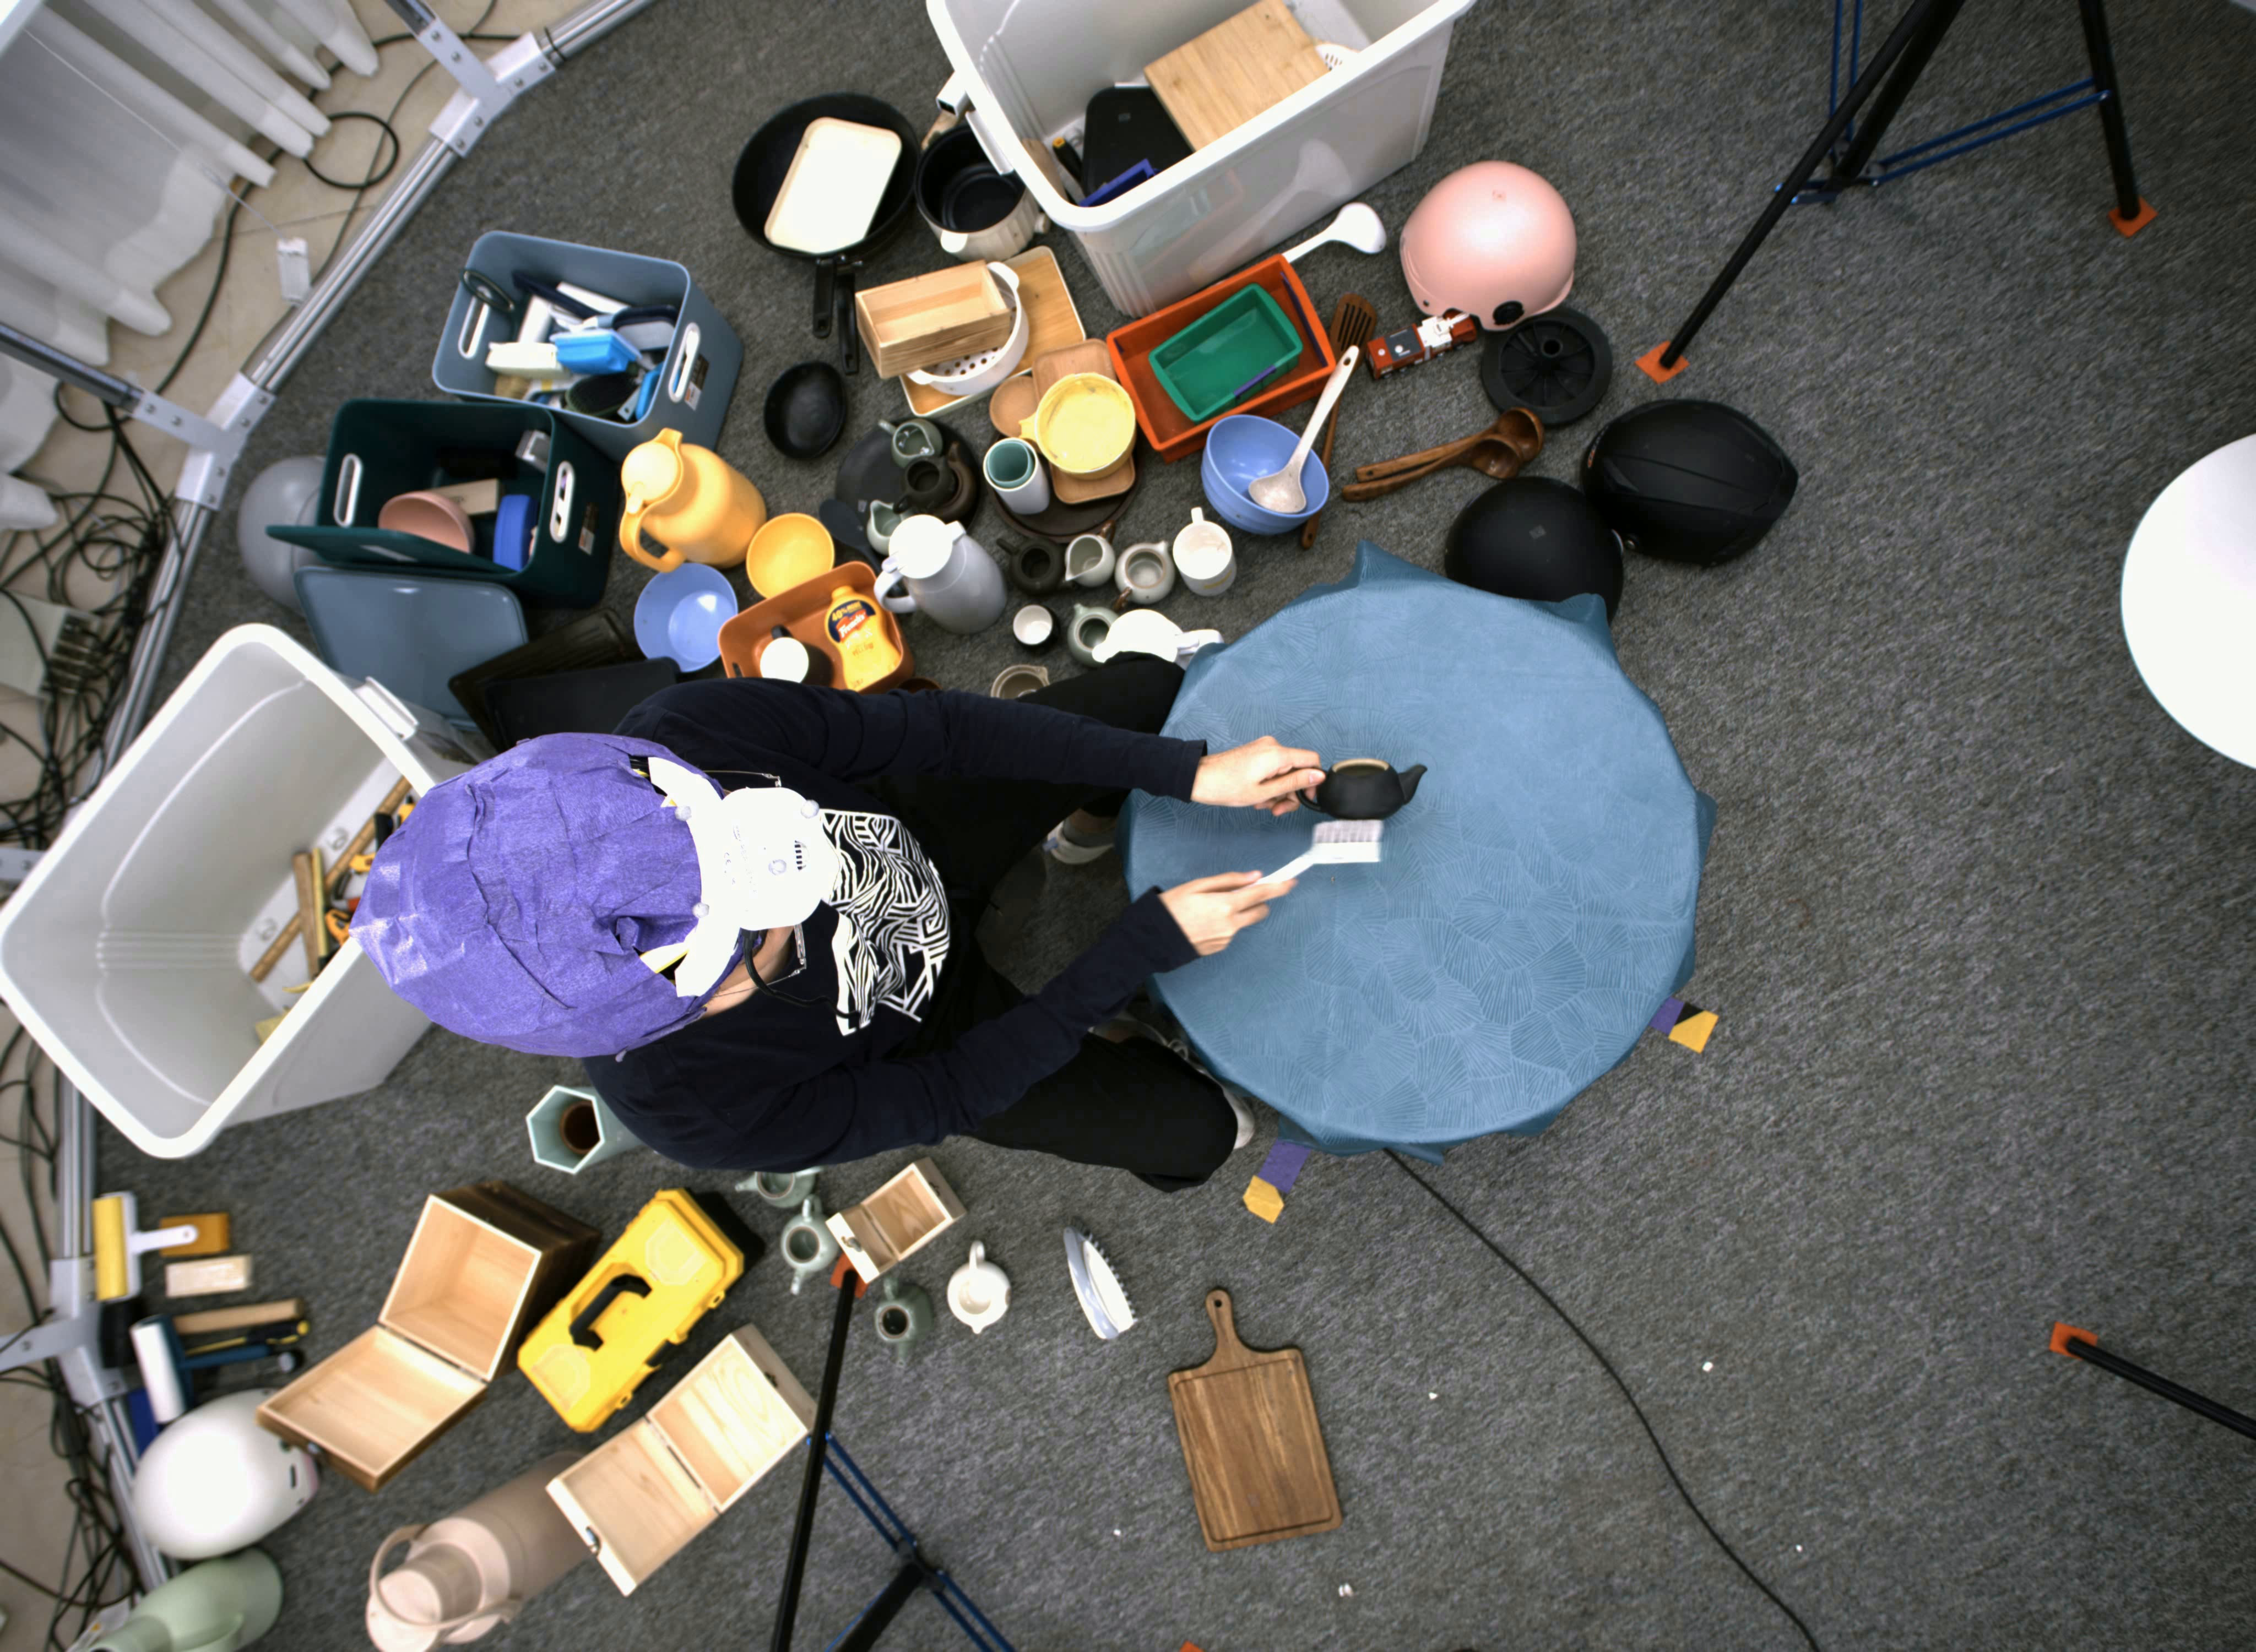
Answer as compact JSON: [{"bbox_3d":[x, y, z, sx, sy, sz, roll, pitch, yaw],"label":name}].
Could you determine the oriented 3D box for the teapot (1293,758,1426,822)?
[{"bbox_3d":[0.234,-0.037,1.390,0.133,0.089,0.054,-2,109,8],"label":"teapot"}]

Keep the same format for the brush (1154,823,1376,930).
[{"bbox_3d":[0.135,0.046,1.392,0.245,0.034,0.049,-20,77,12],"label":"brush"}]
